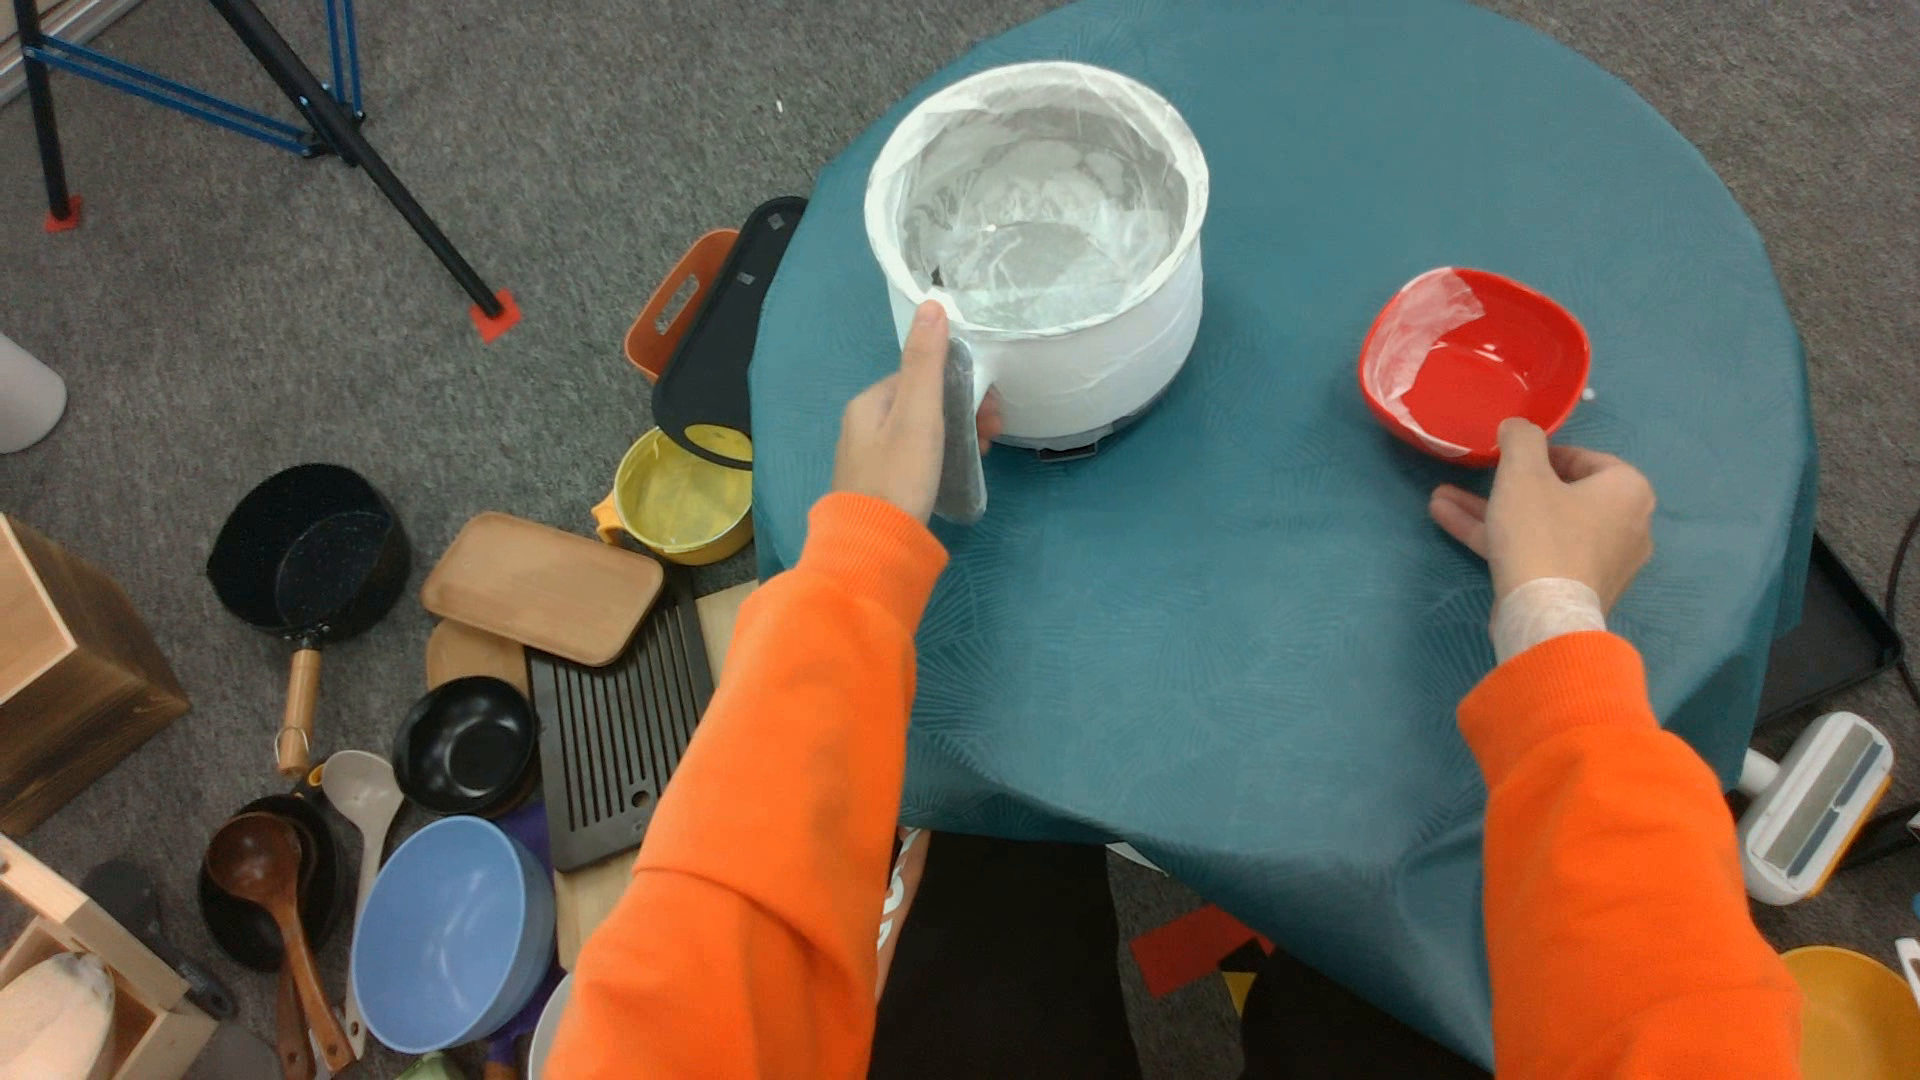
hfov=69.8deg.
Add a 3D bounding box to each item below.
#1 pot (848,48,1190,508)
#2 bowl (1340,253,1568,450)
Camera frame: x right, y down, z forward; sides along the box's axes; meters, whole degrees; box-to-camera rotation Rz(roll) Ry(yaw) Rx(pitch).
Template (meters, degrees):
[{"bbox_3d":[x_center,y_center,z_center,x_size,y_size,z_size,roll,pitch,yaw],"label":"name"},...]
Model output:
[{"bbox_3d":[0.026,-0.136,0.754,0.178,0.136,0.234,17,68,15],"label":"pot"},{"bbox_3d":[0.264,-0.095,0.751,0.119,0.051,0.119,-2,64,5],"label":"bowl"}]
